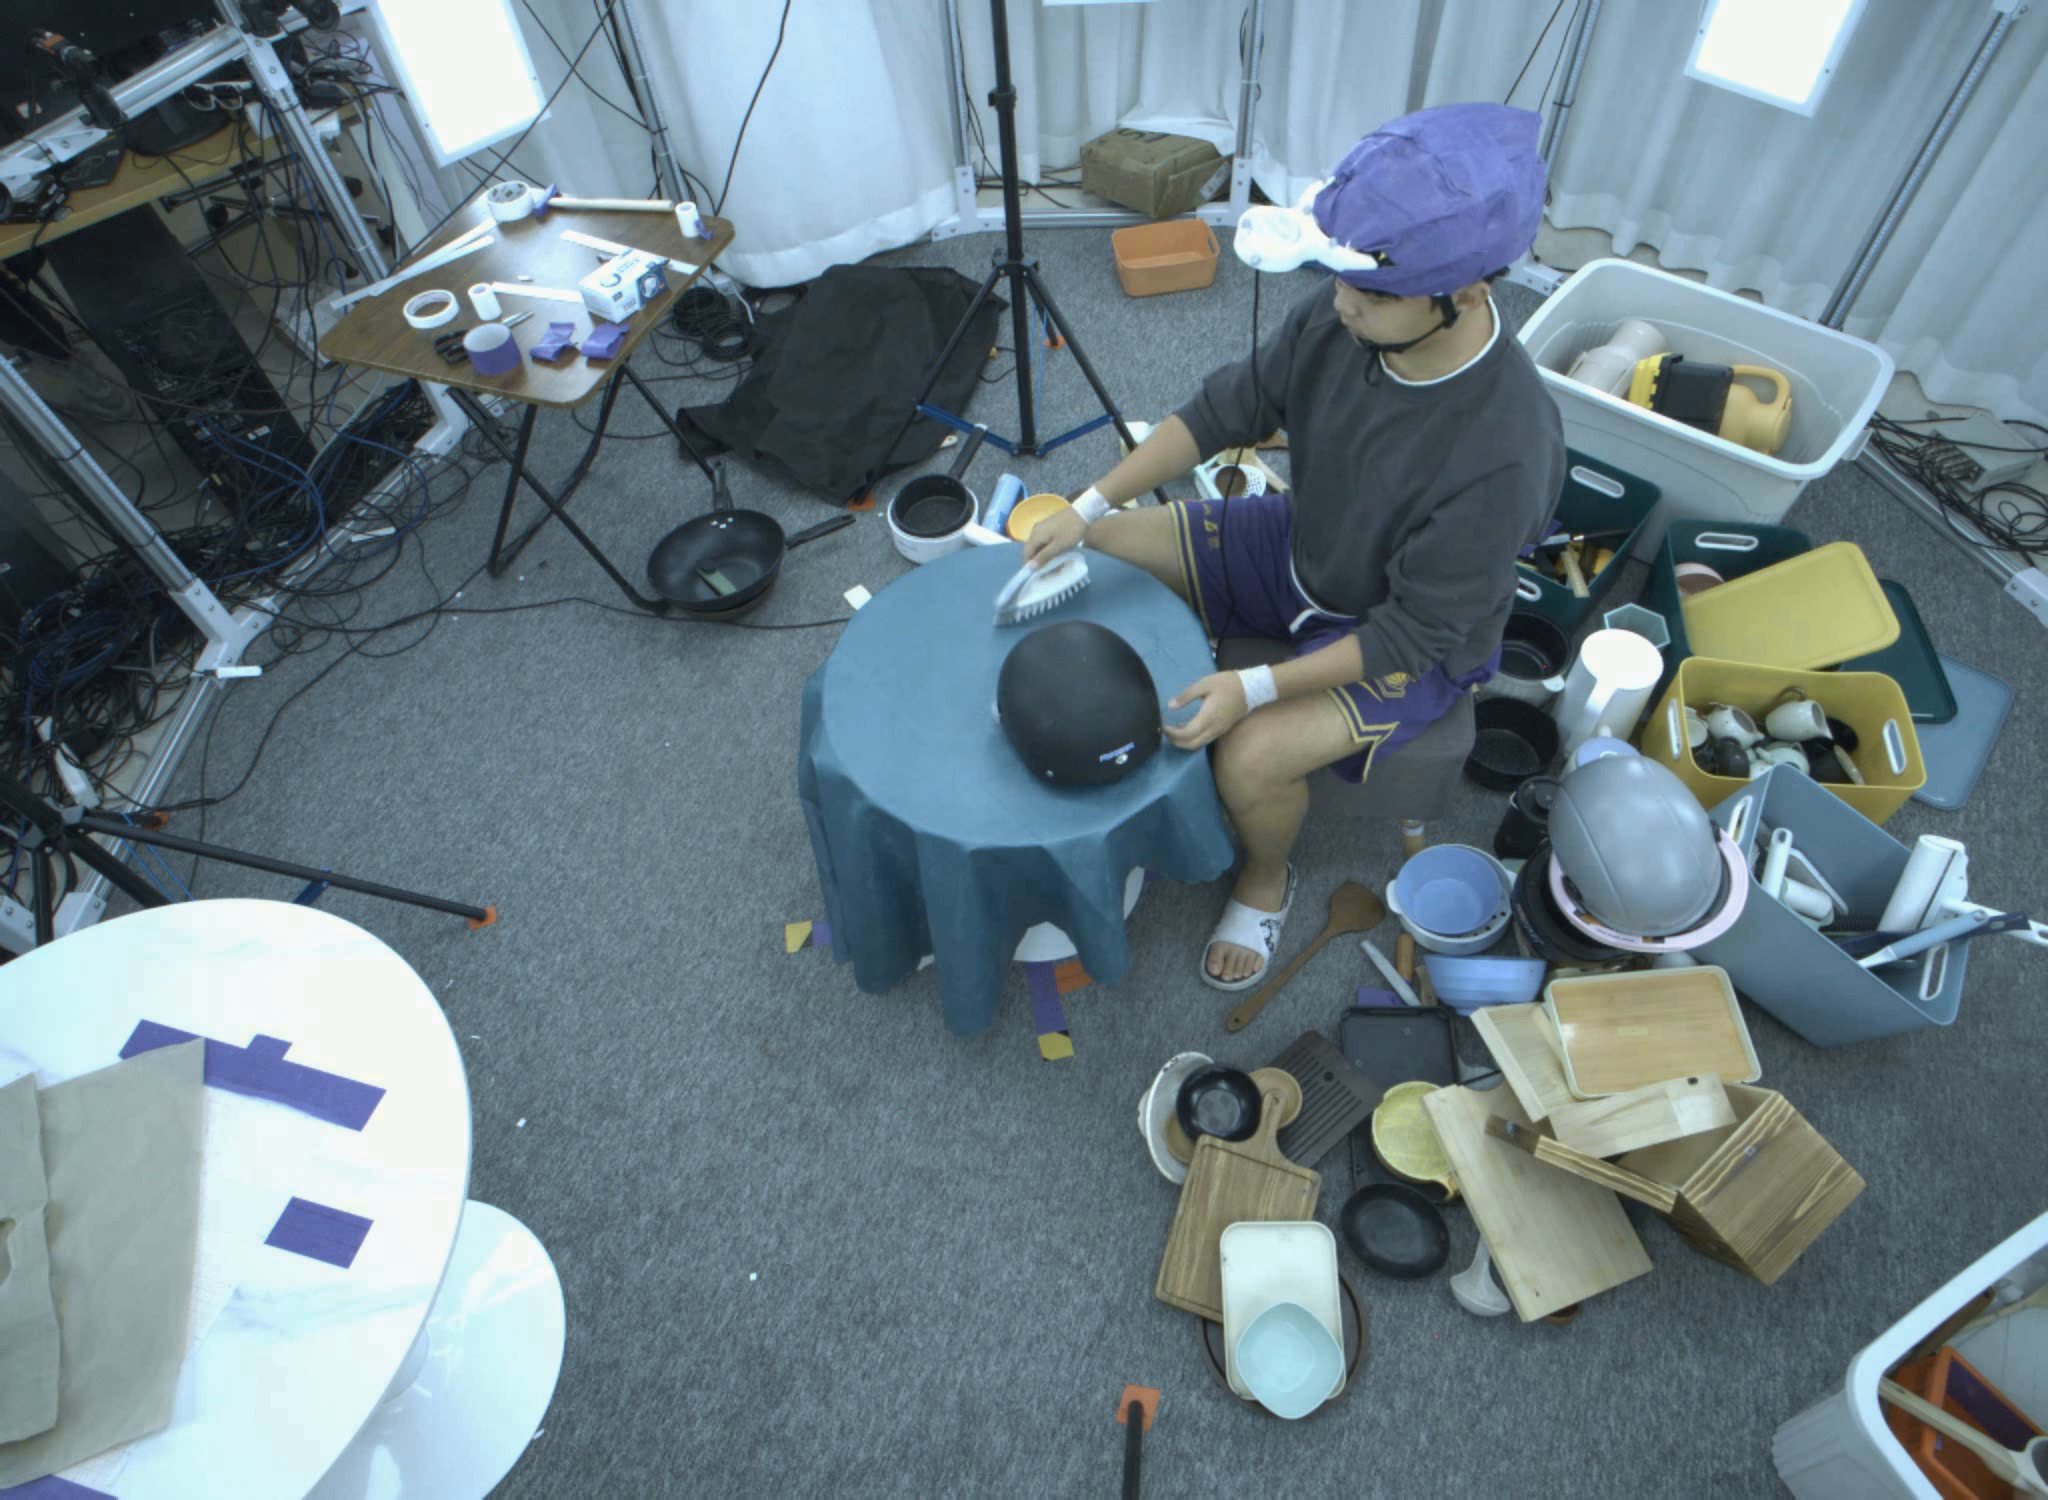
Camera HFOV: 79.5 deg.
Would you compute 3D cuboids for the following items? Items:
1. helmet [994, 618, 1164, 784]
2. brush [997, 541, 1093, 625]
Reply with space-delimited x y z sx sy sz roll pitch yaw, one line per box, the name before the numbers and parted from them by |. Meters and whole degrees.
helmet | 0.075 -0.090 1.754 0.232 0.168 0.268 -20 54 -12
brush | 0.025 -0.266 1.920 0.176 0.095 0.060 -33 60 -15
